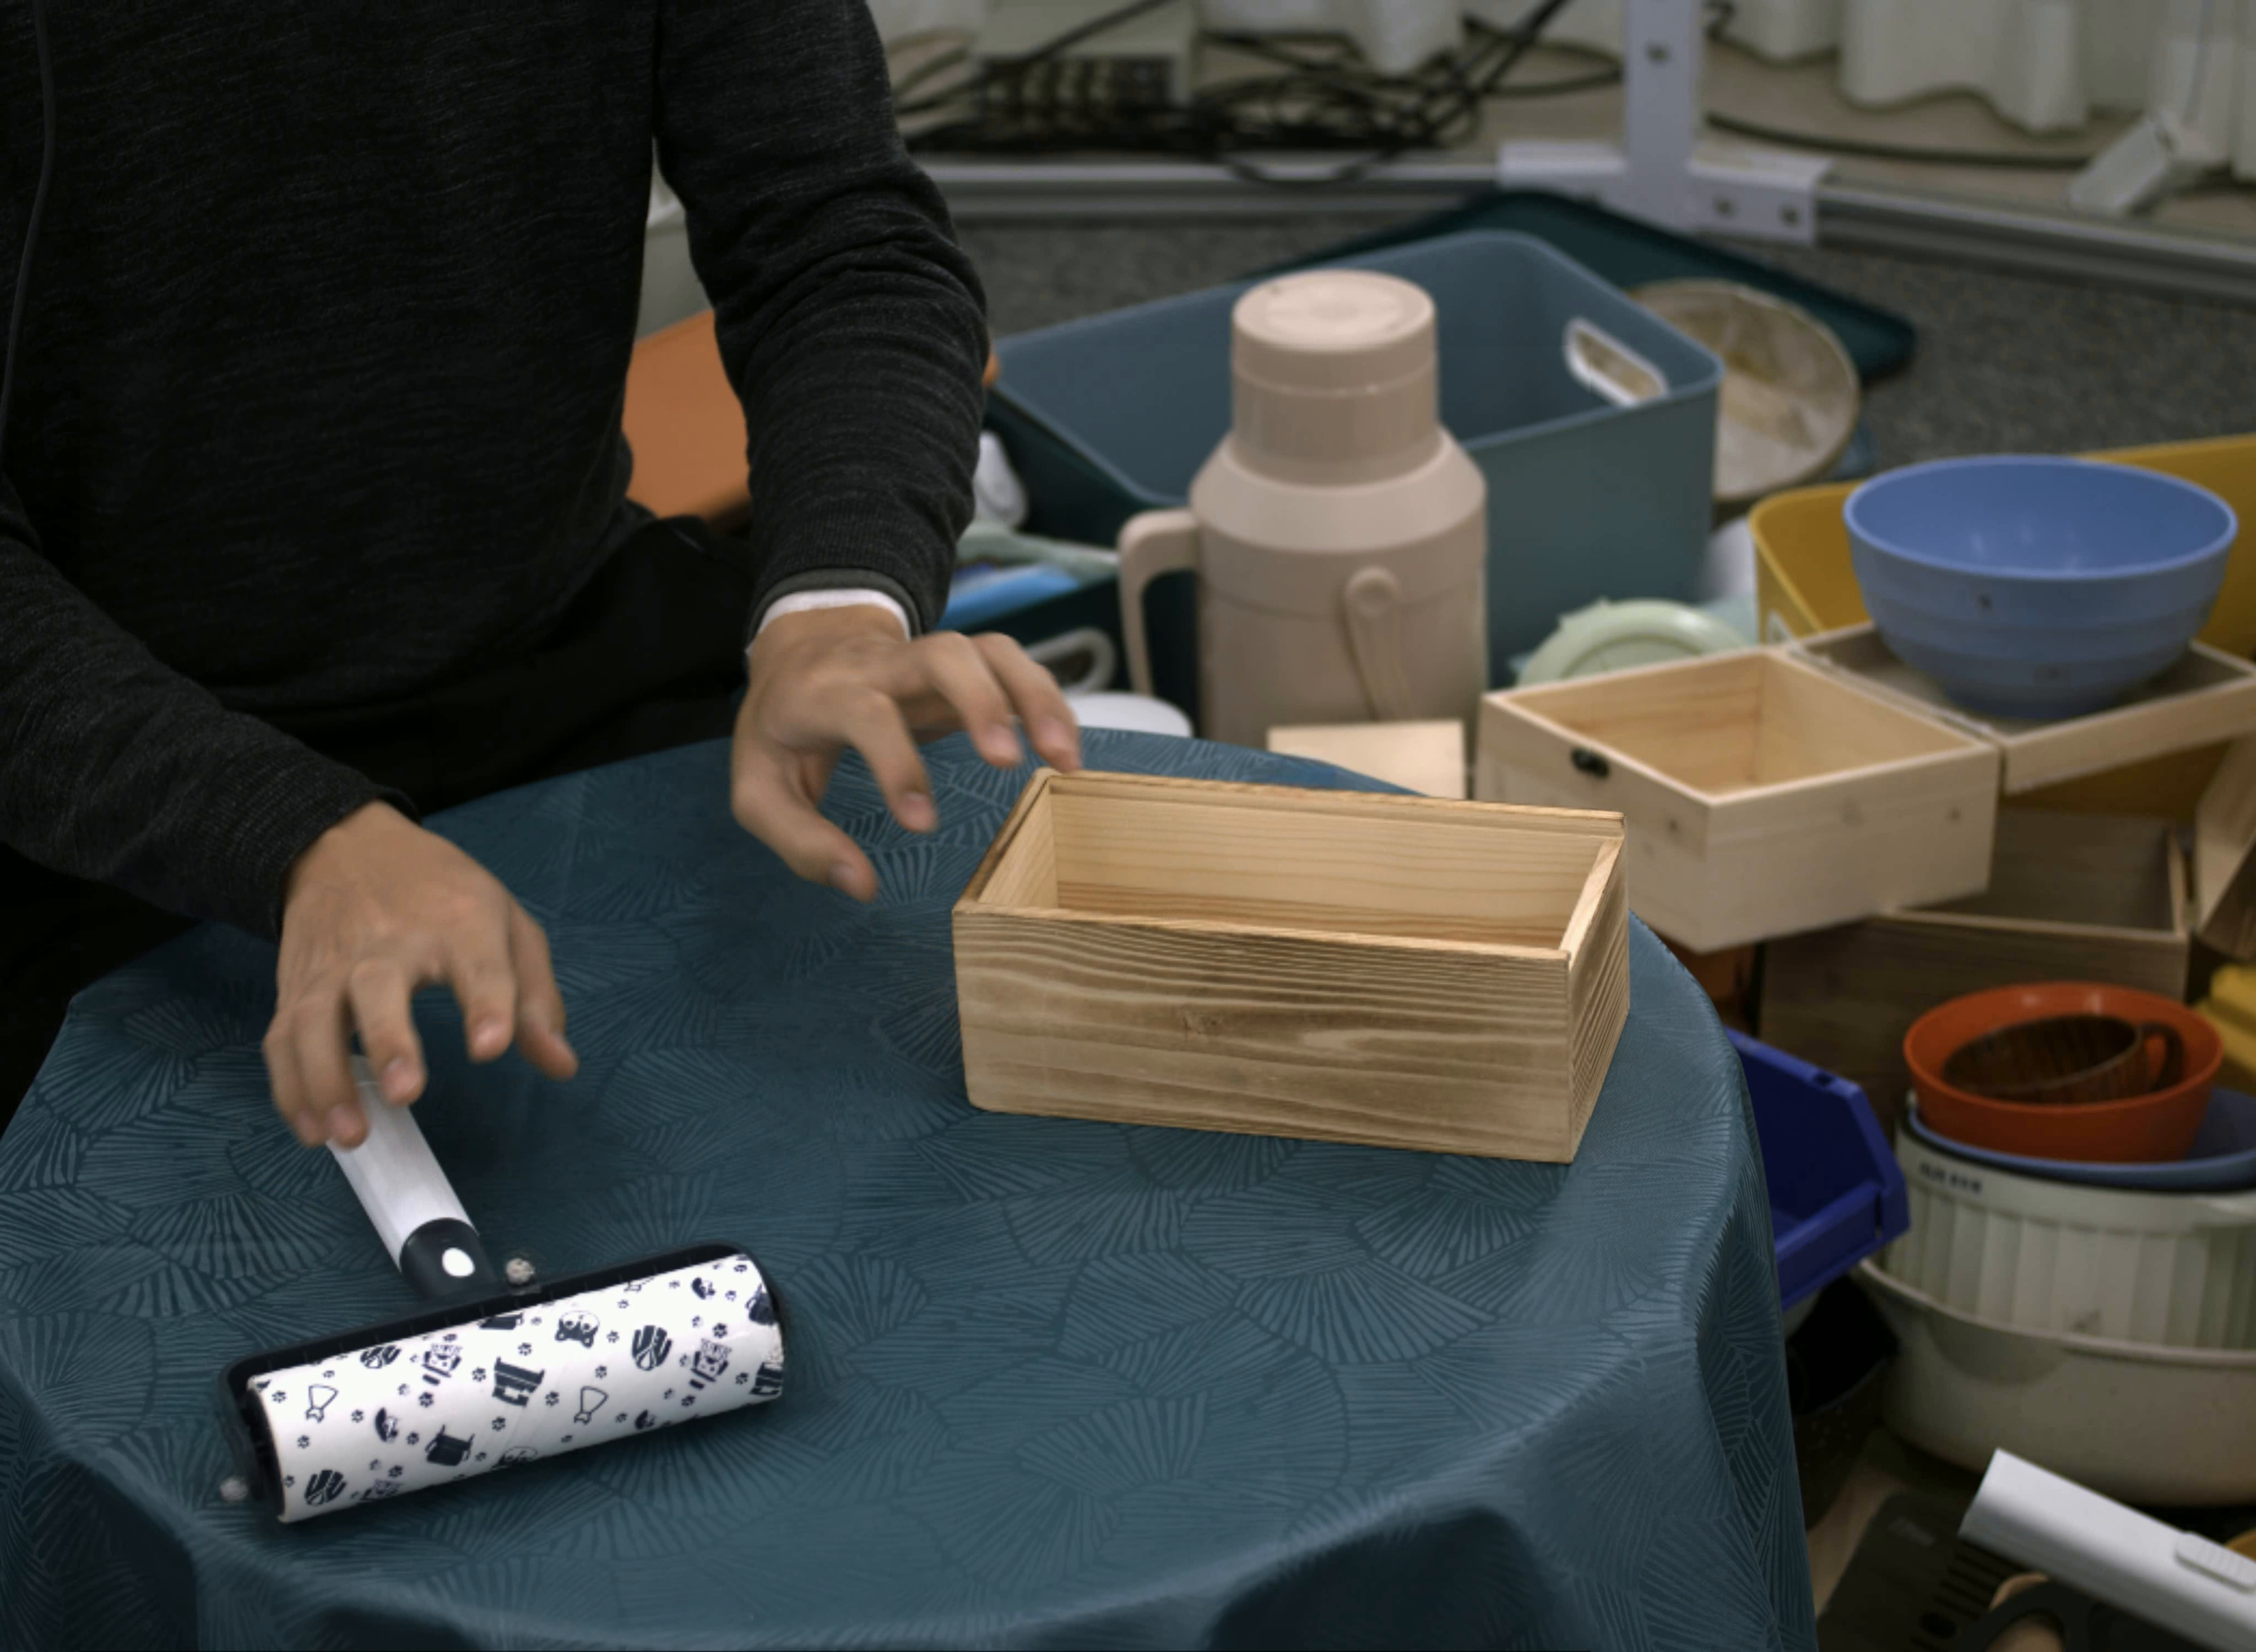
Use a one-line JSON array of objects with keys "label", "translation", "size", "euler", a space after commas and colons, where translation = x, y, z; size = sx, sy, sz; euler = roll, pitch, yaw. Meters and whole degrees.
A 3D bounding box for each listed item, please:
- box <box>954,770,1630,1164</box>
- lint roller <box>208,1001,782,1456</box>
[{"label": "box", "translation": [0.058, 0.046, 1.915], "size": [0.210, 0.079, 0.109], "euler": [4, 27, 14]}, {"label": "lint roller", "translation": [-0.215, 0.118, 1.828], "size": [0.176, 0.050, 0.250], "euler": [-6, 29, -9]}]
